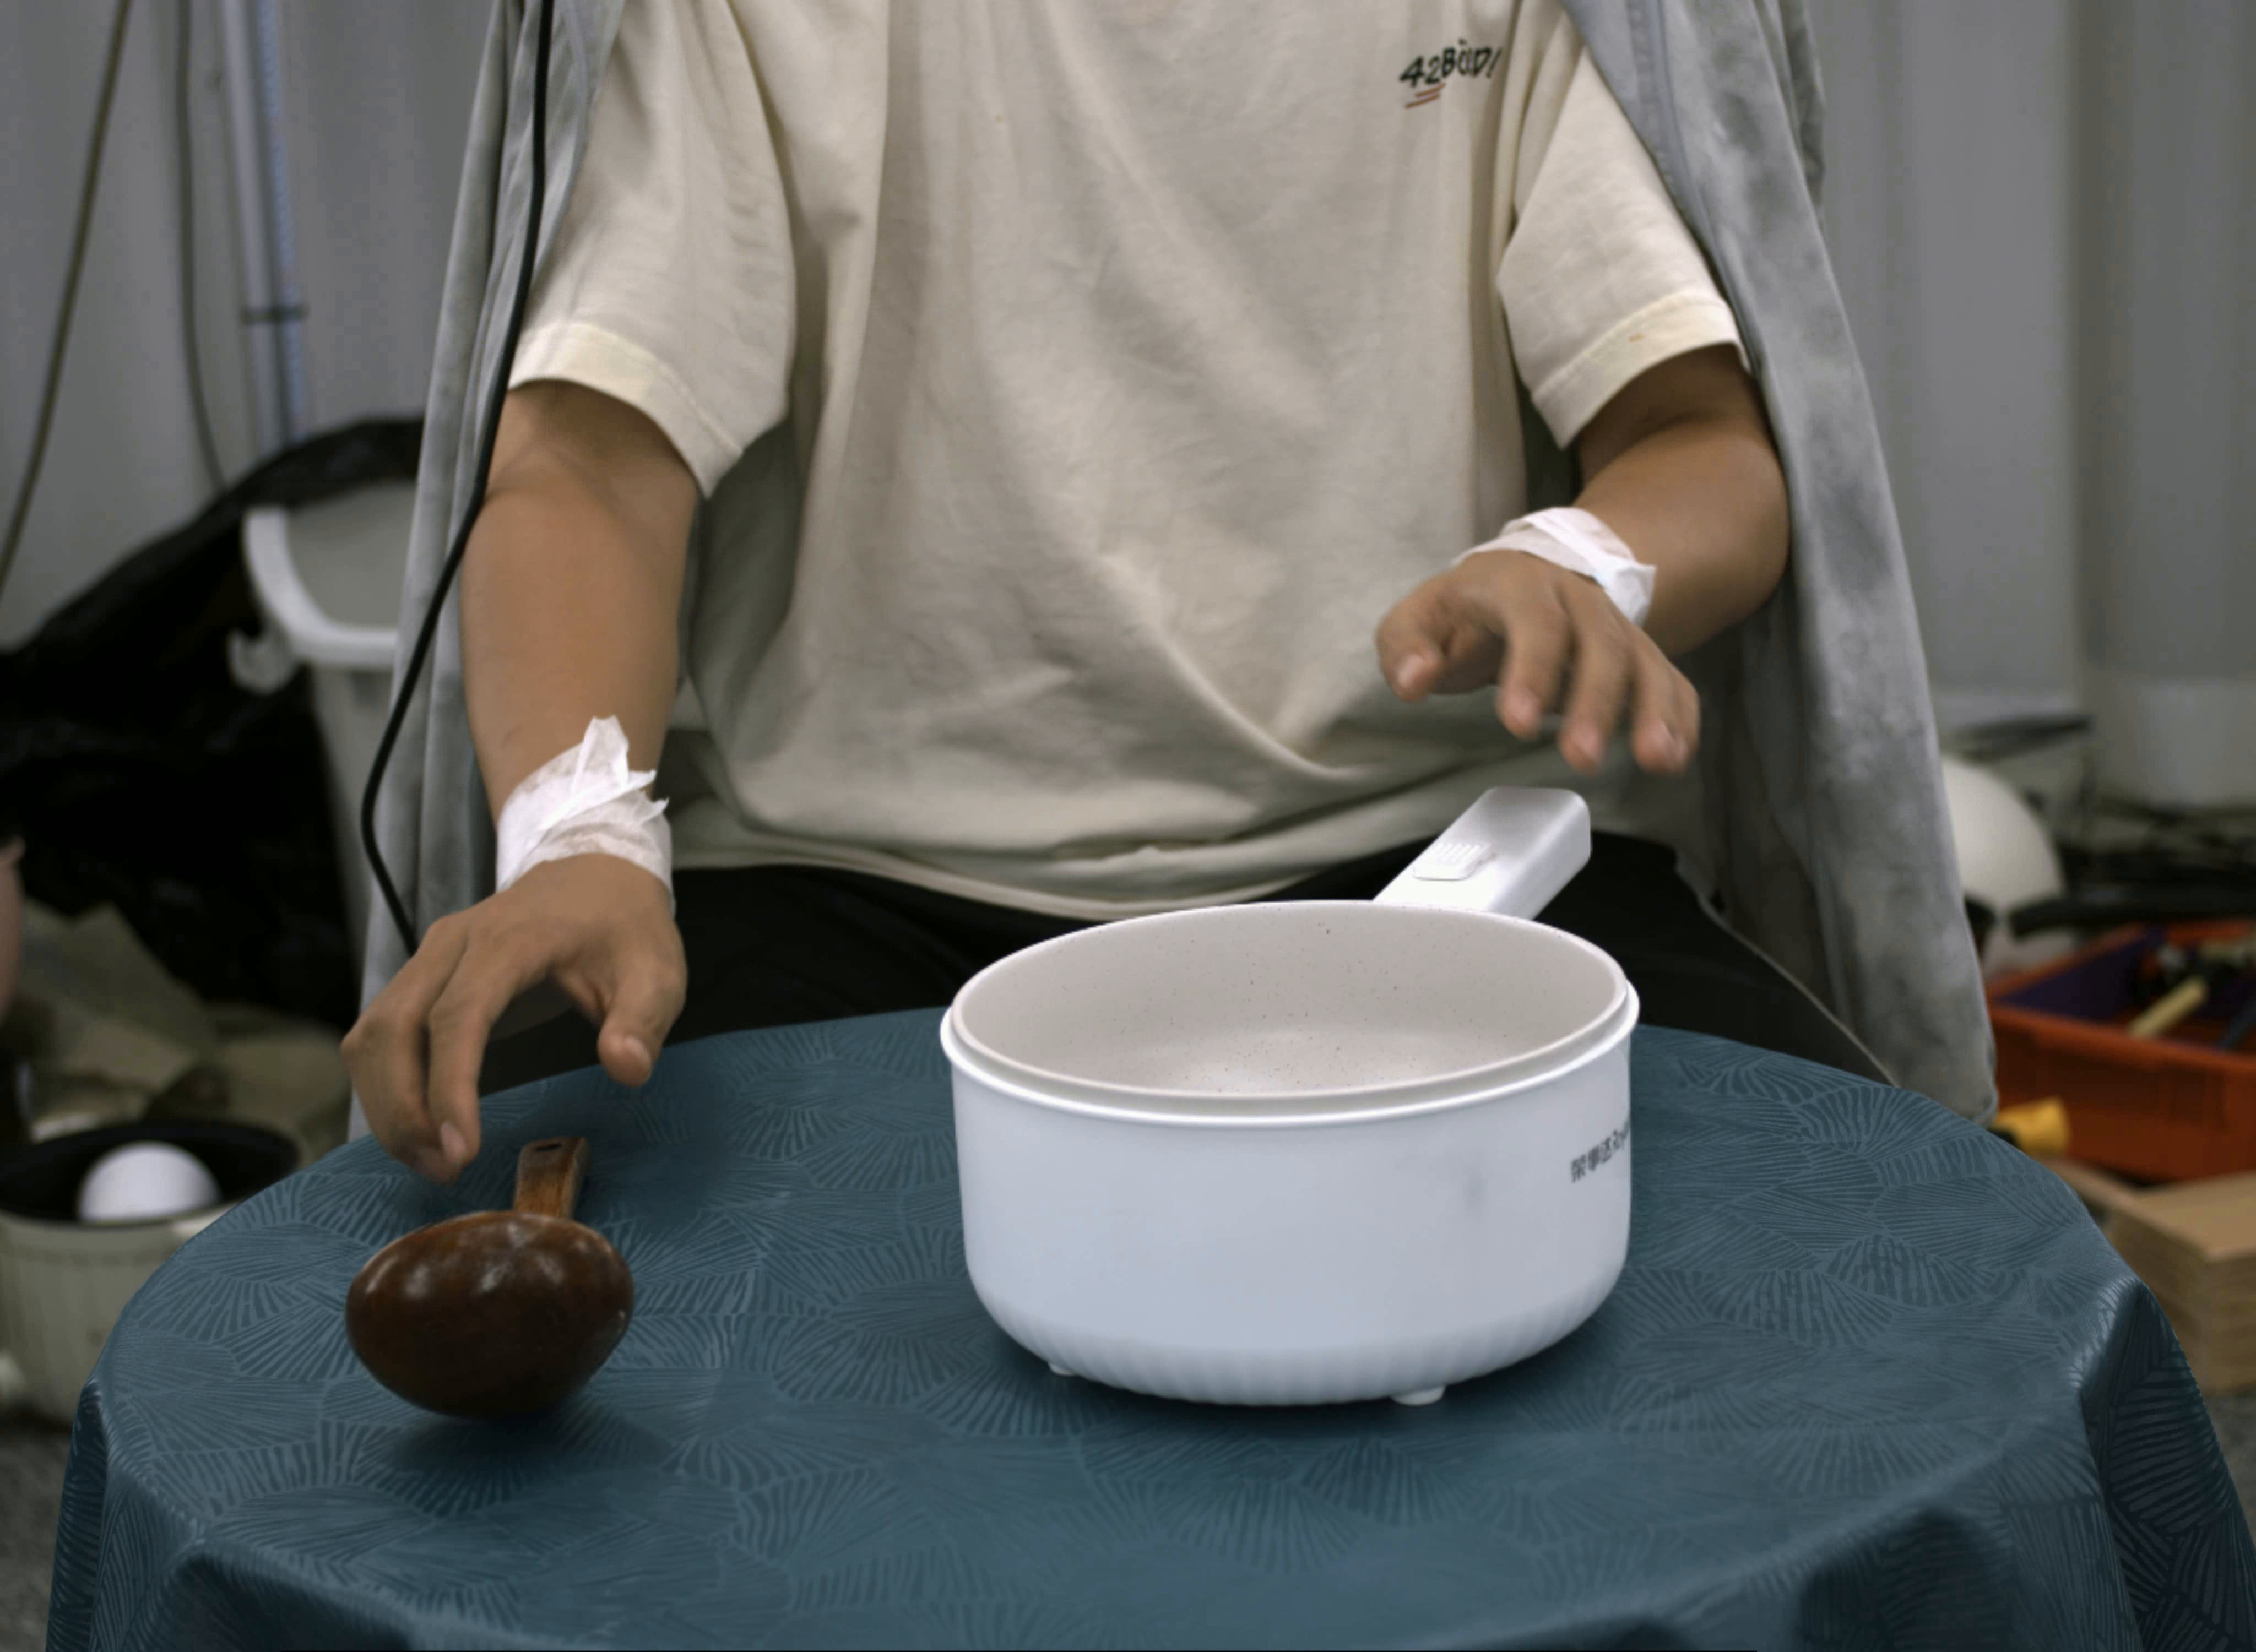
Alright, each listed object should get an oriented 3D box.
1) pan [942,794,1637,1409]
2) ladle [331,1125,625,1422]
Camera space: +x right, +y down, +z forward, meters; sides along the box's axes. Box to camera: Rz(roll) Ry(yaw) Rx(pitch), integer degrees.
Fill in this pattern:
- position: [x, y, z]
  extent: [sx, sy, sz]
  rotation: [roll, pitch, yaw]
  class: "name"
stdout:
- position: [0.076, 0.079, 1.653]
  extent: [0.201, 0.102, 0.356]
  rotation: [2, 15, 21]
  class: "pan"
- position: [-0.181, 0.109, 1.624]
  extent: [0.081, 0.076, 0.276]
  rotation: [-5, 16, 1]
  class: "ladle"
